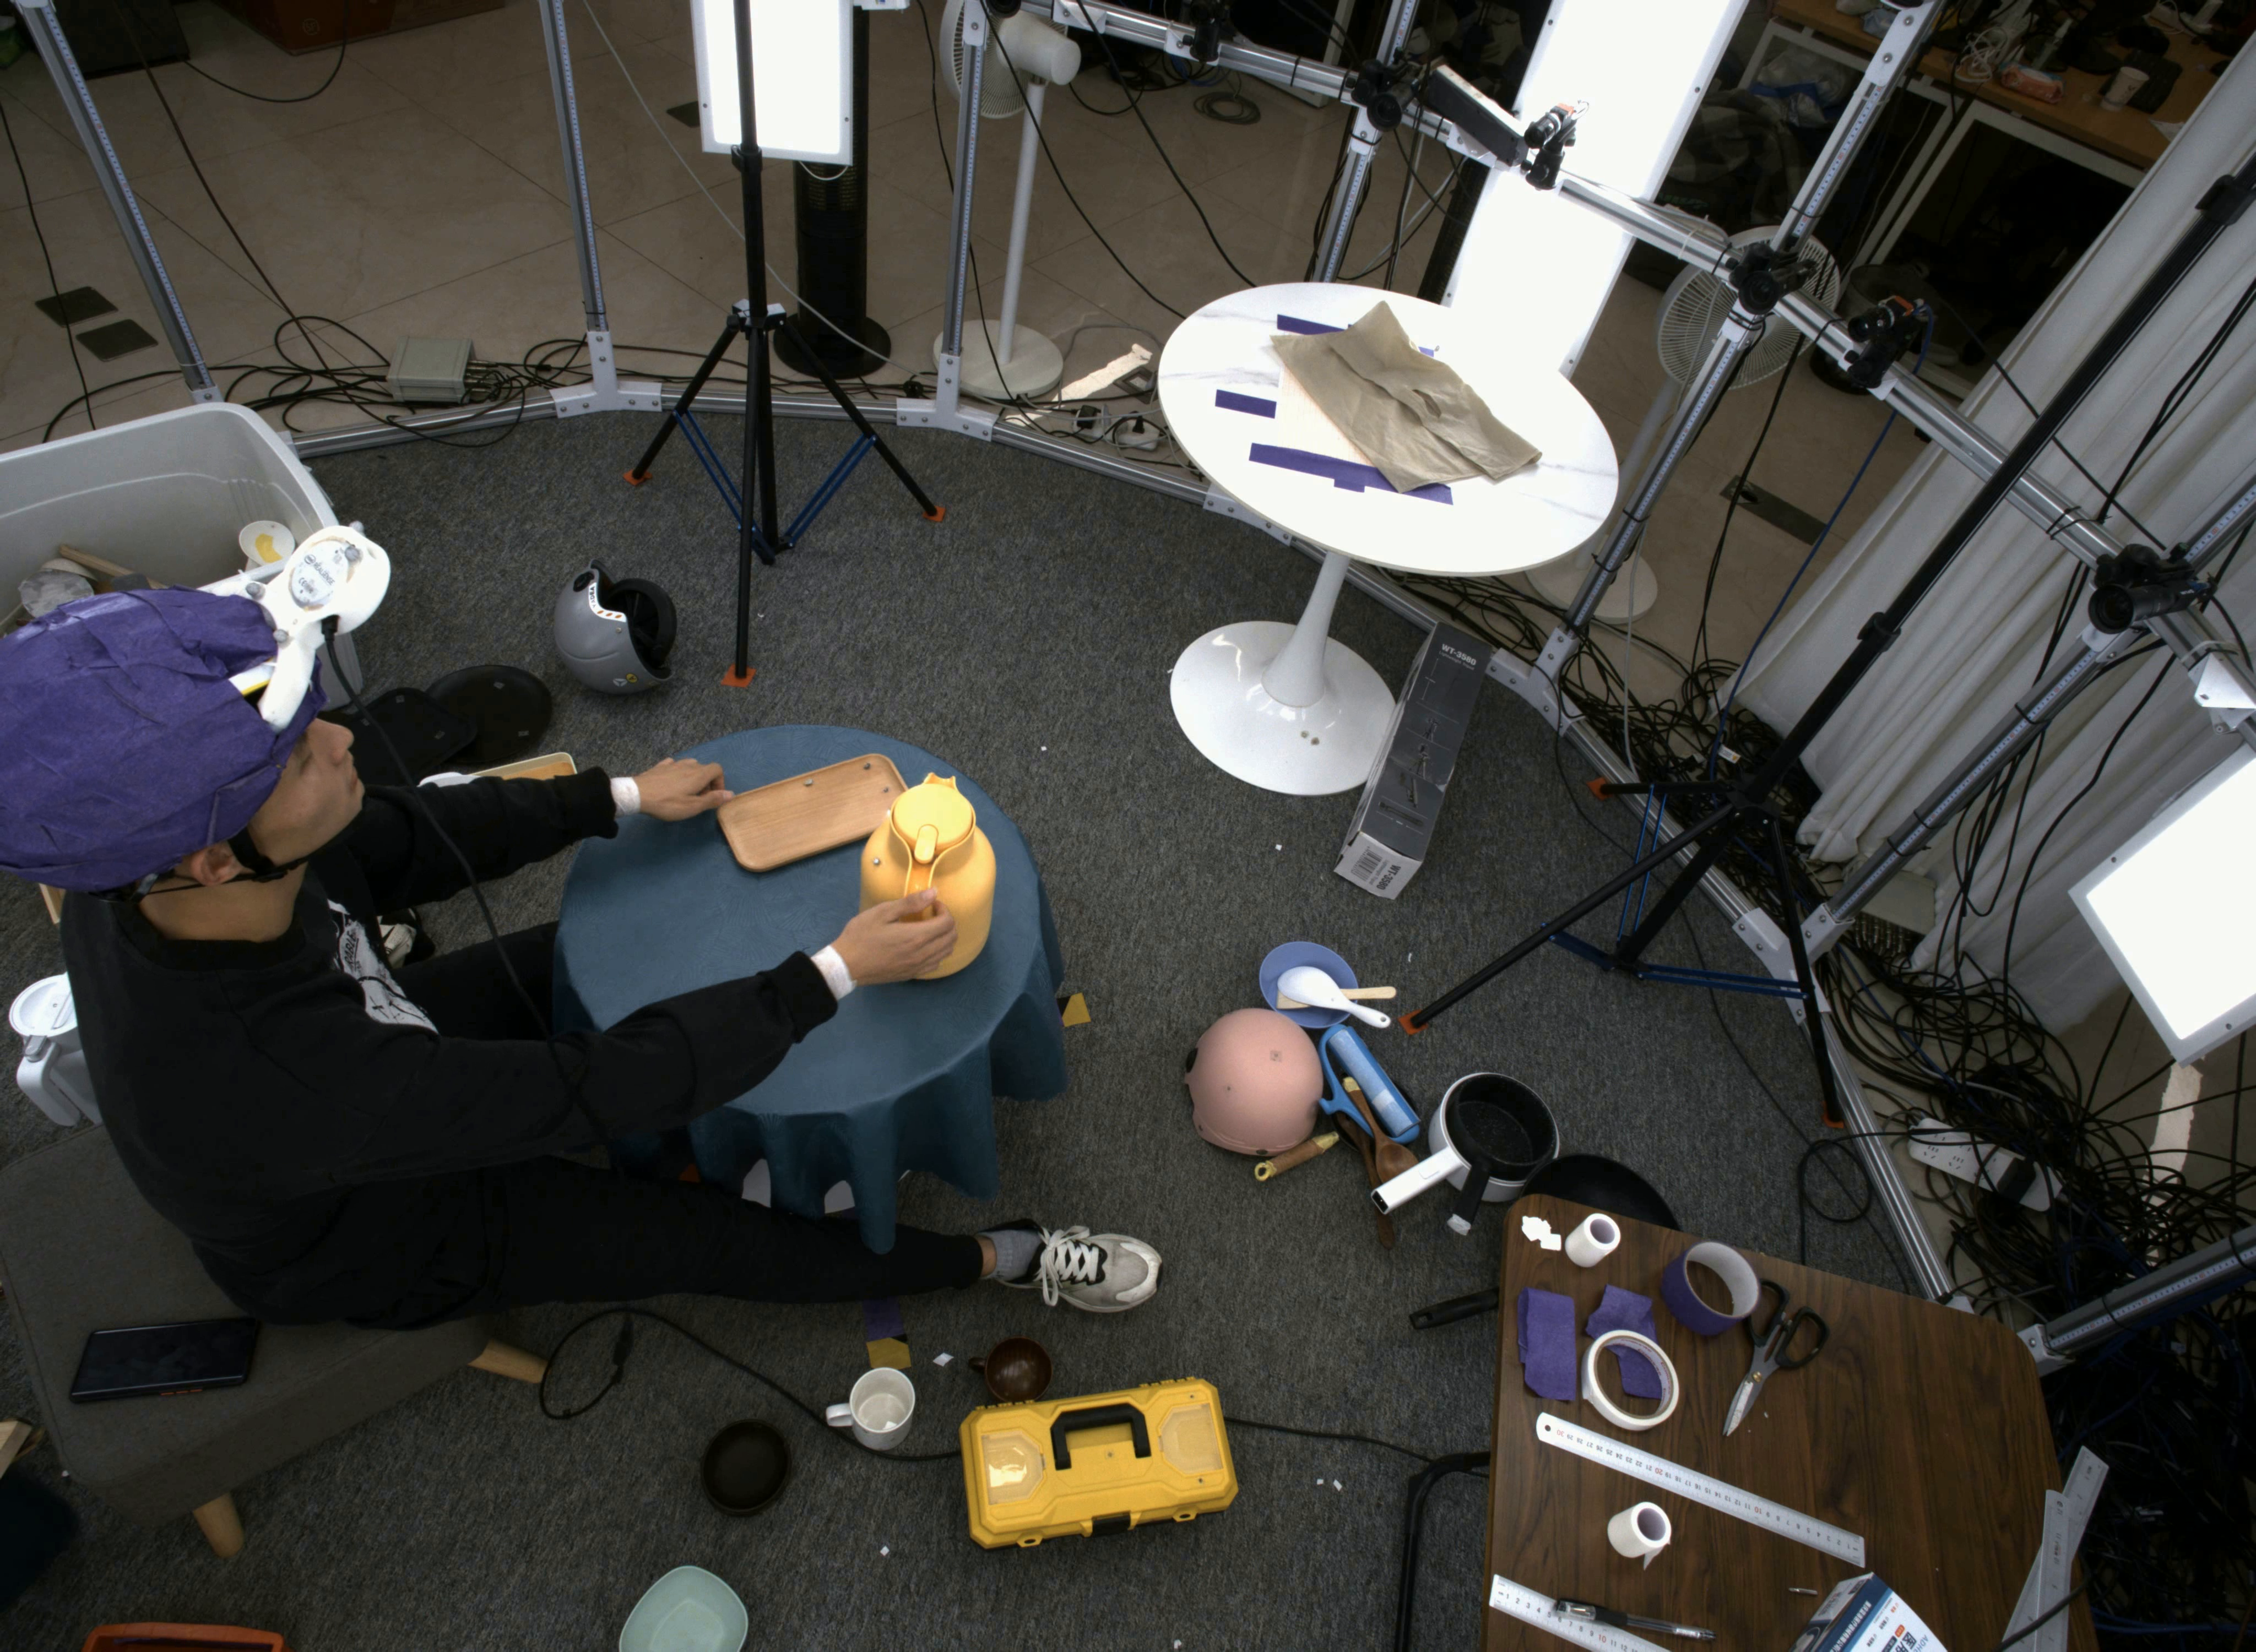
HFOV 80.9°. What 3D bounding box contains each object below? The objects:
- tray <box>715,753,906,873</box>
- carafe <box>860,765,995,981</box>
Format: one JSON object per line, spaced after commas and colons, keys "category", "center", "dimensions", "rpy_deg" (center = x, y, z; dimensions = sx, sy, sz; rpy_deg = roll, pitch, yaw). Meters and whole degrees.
{"category": "tray", "center": [-0.415, -0.020, 1.728], "dimensions": [0.252, 0.023, 0.127], "rpy_deg": [-20, 59, -26]}
{"category": "carafe", "center": [-0.243, 0.070, 1.545], "dimensions": [0.162, 0.267, 0.199], "rpy_deg": [9, 49, -1]}
